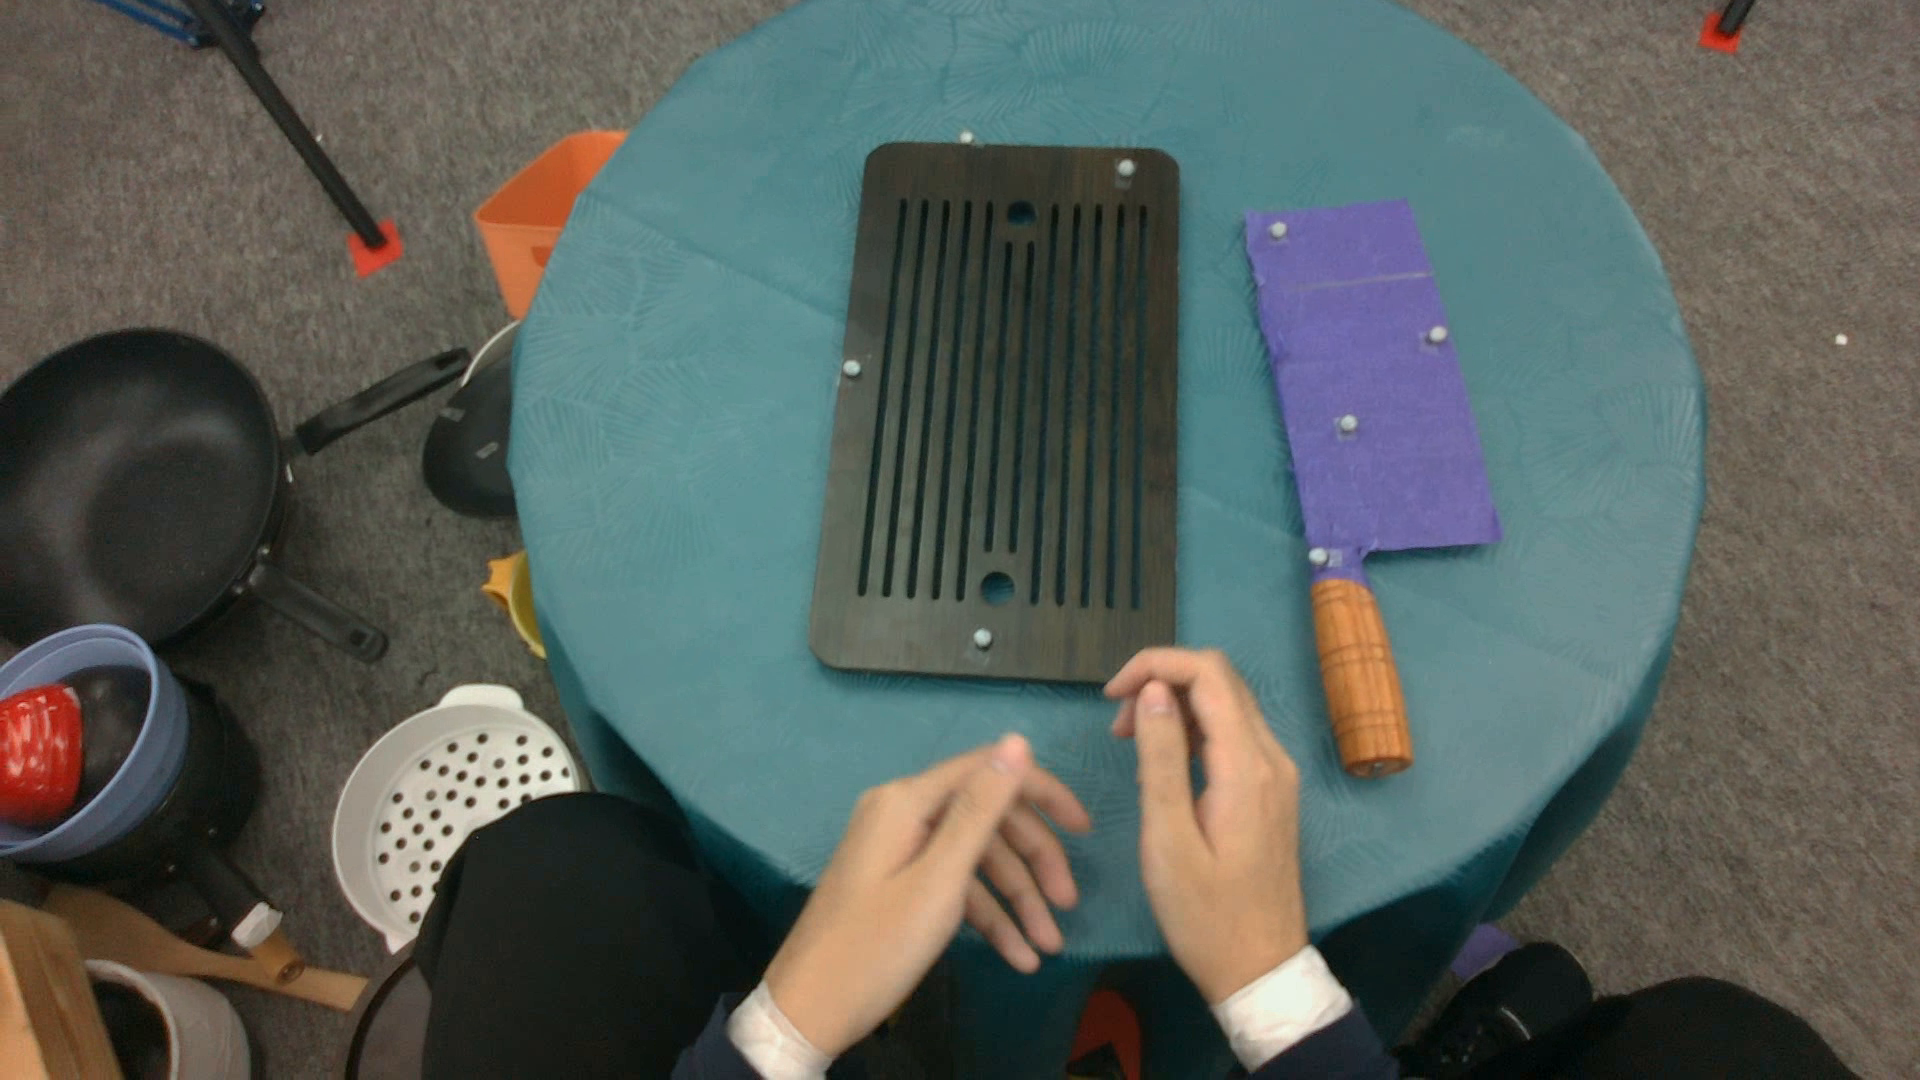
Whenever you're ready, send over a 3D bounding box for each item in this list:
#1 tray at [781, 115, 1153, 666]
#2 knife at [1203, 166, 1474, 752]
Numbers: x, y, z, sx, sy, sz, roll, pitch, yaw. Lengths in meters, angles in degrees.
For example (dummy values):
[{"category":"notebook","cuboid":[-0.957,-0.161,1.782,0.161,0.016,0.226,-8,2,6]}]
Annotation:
[{"category":"tray","cuboid":[0.010,-0.085,0.688,0.170,0.018,0.307,2,67,3]},{"category":"knife","cuboid":[0.193,-0.056,0.664,0.104,0.032,0.316,-5,66,0]}]
